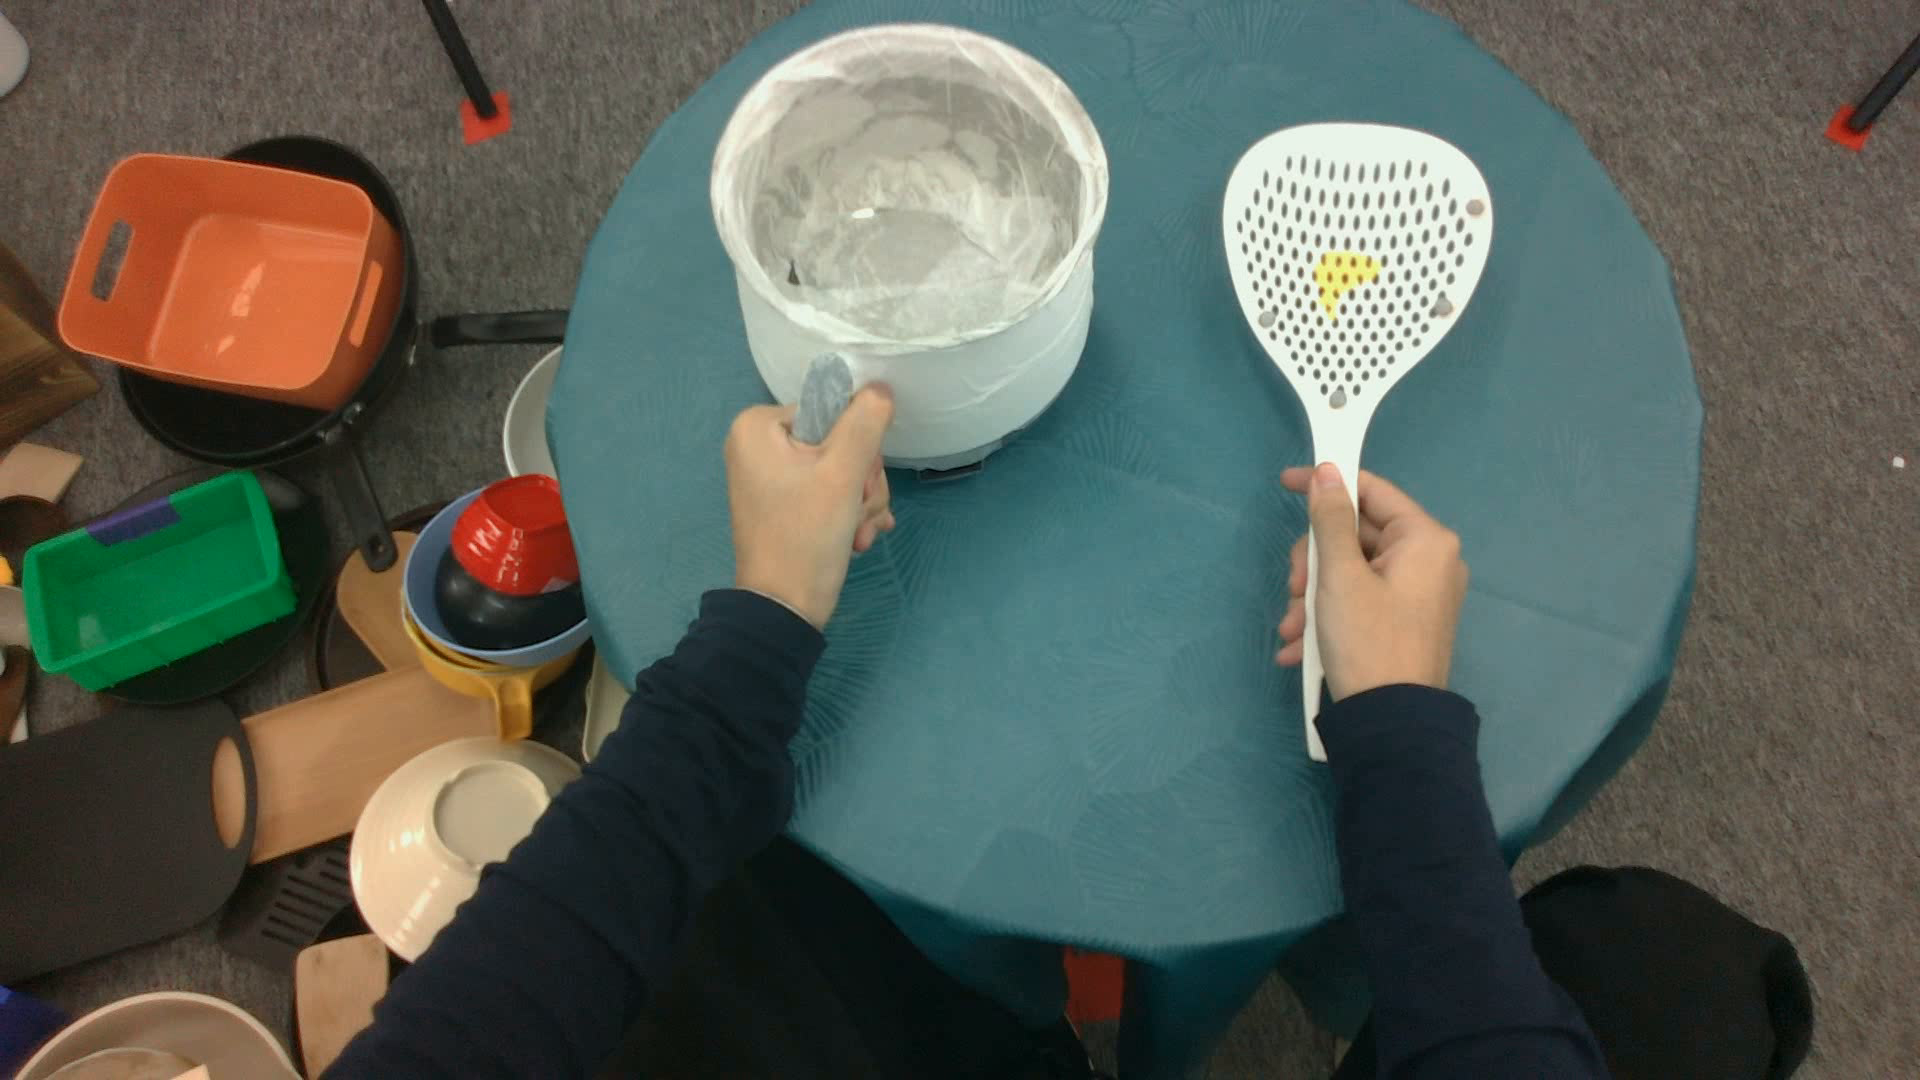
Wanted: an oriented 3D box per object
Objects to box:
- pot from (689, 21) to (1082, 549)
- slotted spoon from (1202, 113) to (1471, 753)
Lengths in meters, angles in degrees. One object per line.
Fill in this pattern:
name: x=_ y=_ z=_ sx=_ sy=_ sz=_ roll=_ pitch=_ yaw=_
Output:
pot: x=-0.039 y=-0.116 z=0.664 sx=0.178 sy=0.136 sz=0.234 roll=14 pitch=67 yaw=9
slotted spoon: x=0.182 y=-0.068 z=0.686 sx=0.136 sy=0.050 sz=0.349 roll=4 pitch=62 yaw=11
